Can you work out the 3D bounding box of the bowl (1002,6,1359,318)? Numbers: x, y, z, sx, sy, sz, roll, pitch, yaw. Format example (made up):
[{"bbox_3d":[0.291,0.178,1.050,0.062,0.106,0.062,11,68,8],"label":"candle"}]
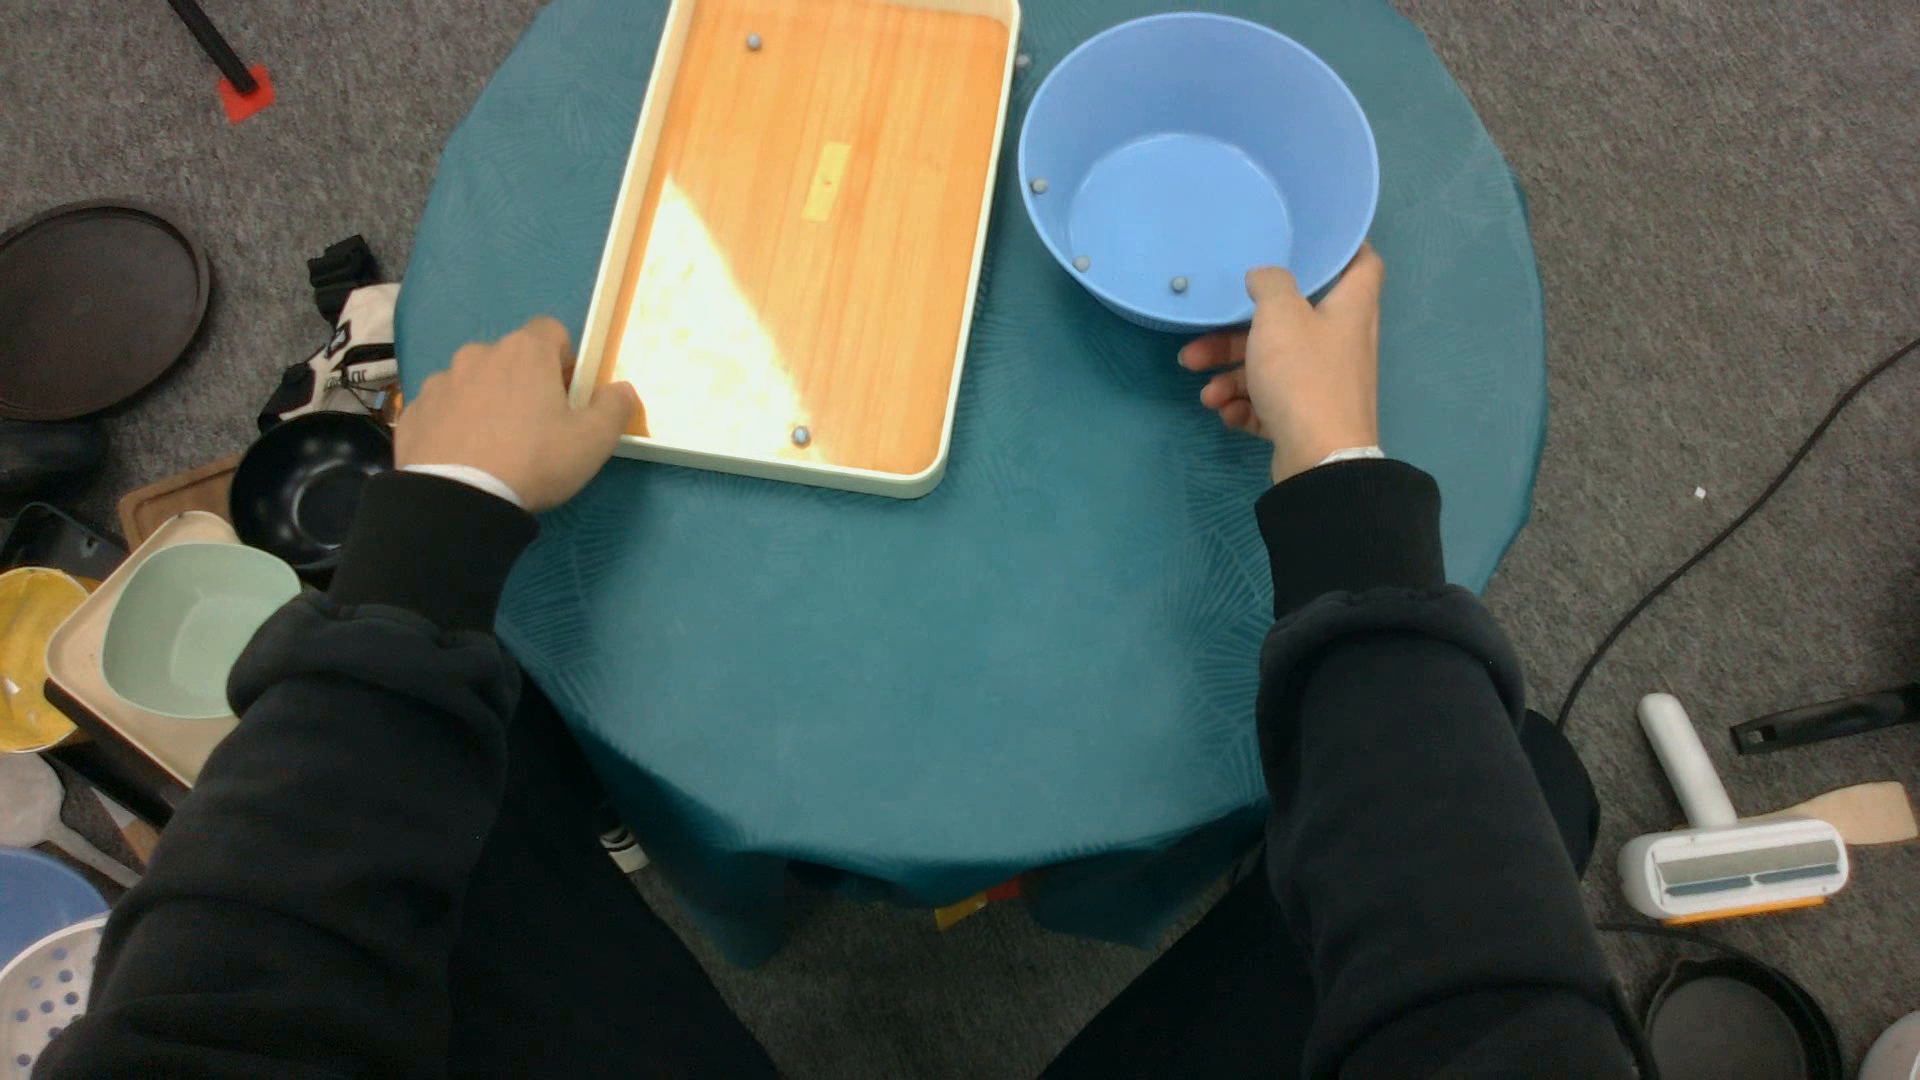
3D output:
[{"bbox_3d":[0.109,-0.181,0.708,0.176,0.070,0.176,0,71,0],"label":"bowl"}]

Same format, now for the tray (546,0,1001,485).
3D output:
[{"bbox_3d":[-0.090,-0.180,0.727,0.191,0.027,0.301,8,70,2],"label":"tray"}]
